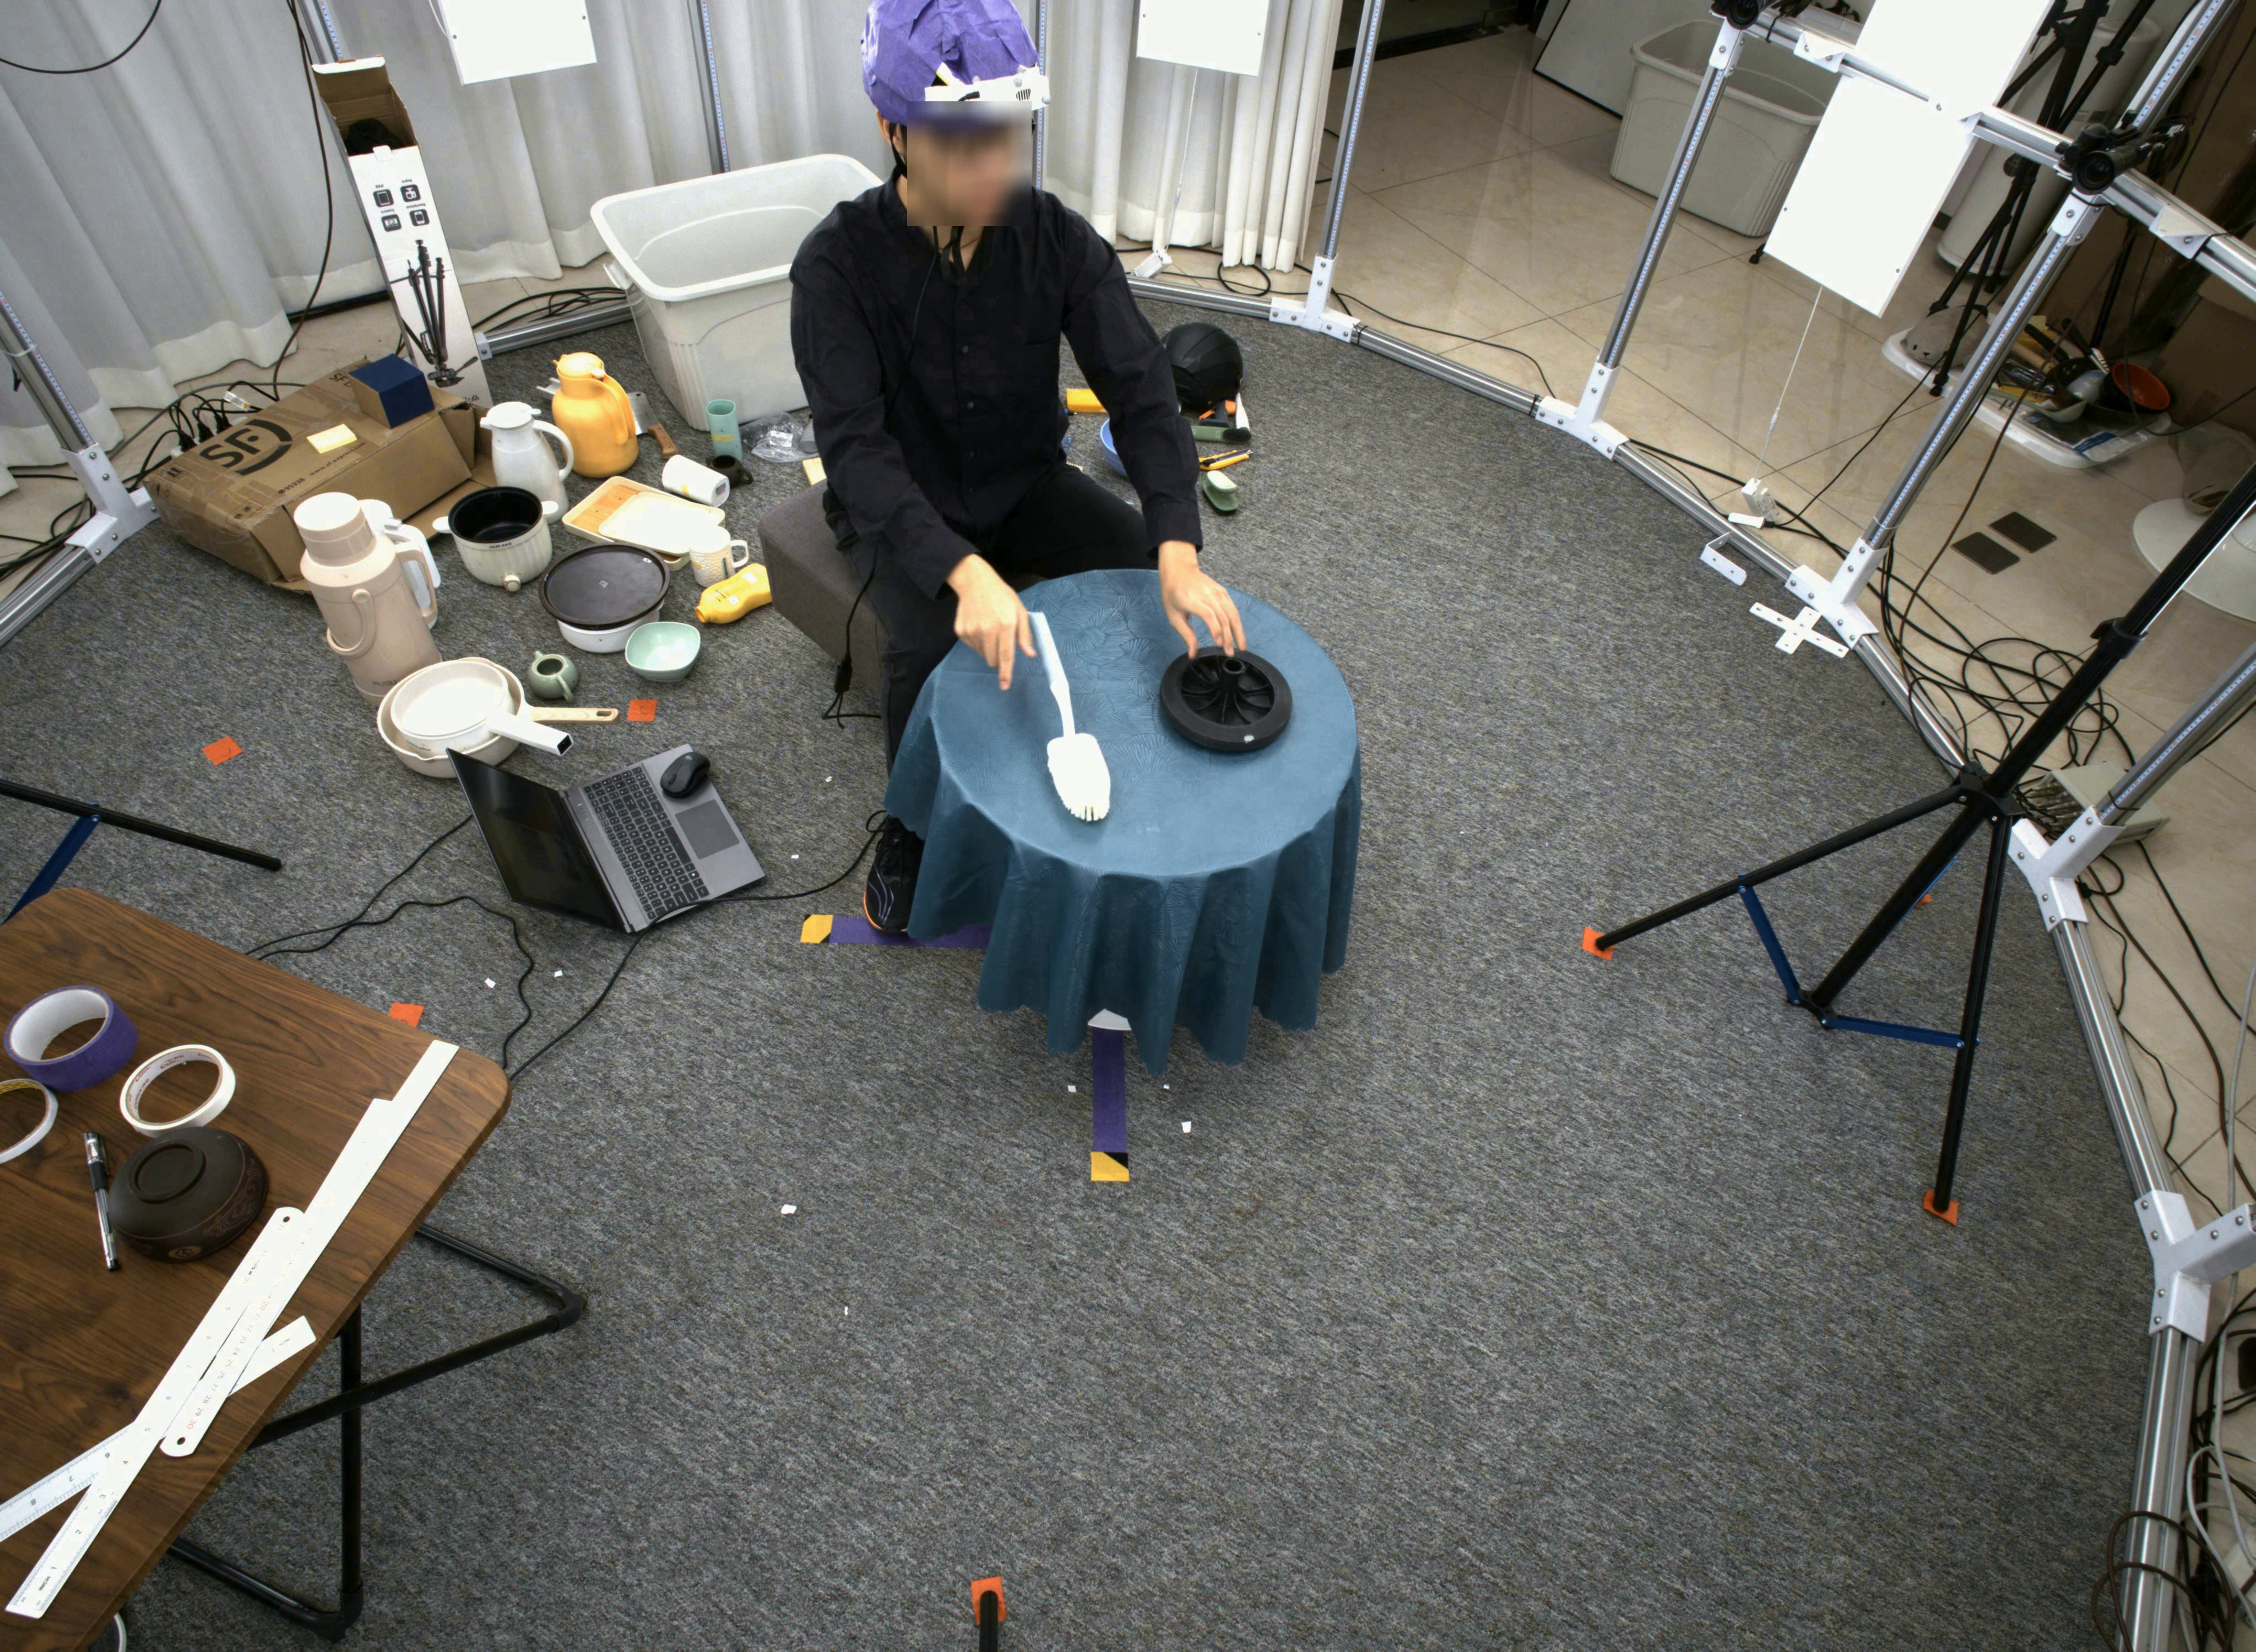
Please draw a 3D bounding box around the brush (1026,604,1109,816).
[{"bbox_3d":[-0.086,-0.155,1.742,0.082,0.083,0.332,11,52,-45],"label":"brush"}]

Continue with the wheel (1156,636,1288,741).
[{"bbox_3d":[0.136,-0.210,1.805,0.190,0.077,0.191,-22,57,-22],"label":"wheel"}]
